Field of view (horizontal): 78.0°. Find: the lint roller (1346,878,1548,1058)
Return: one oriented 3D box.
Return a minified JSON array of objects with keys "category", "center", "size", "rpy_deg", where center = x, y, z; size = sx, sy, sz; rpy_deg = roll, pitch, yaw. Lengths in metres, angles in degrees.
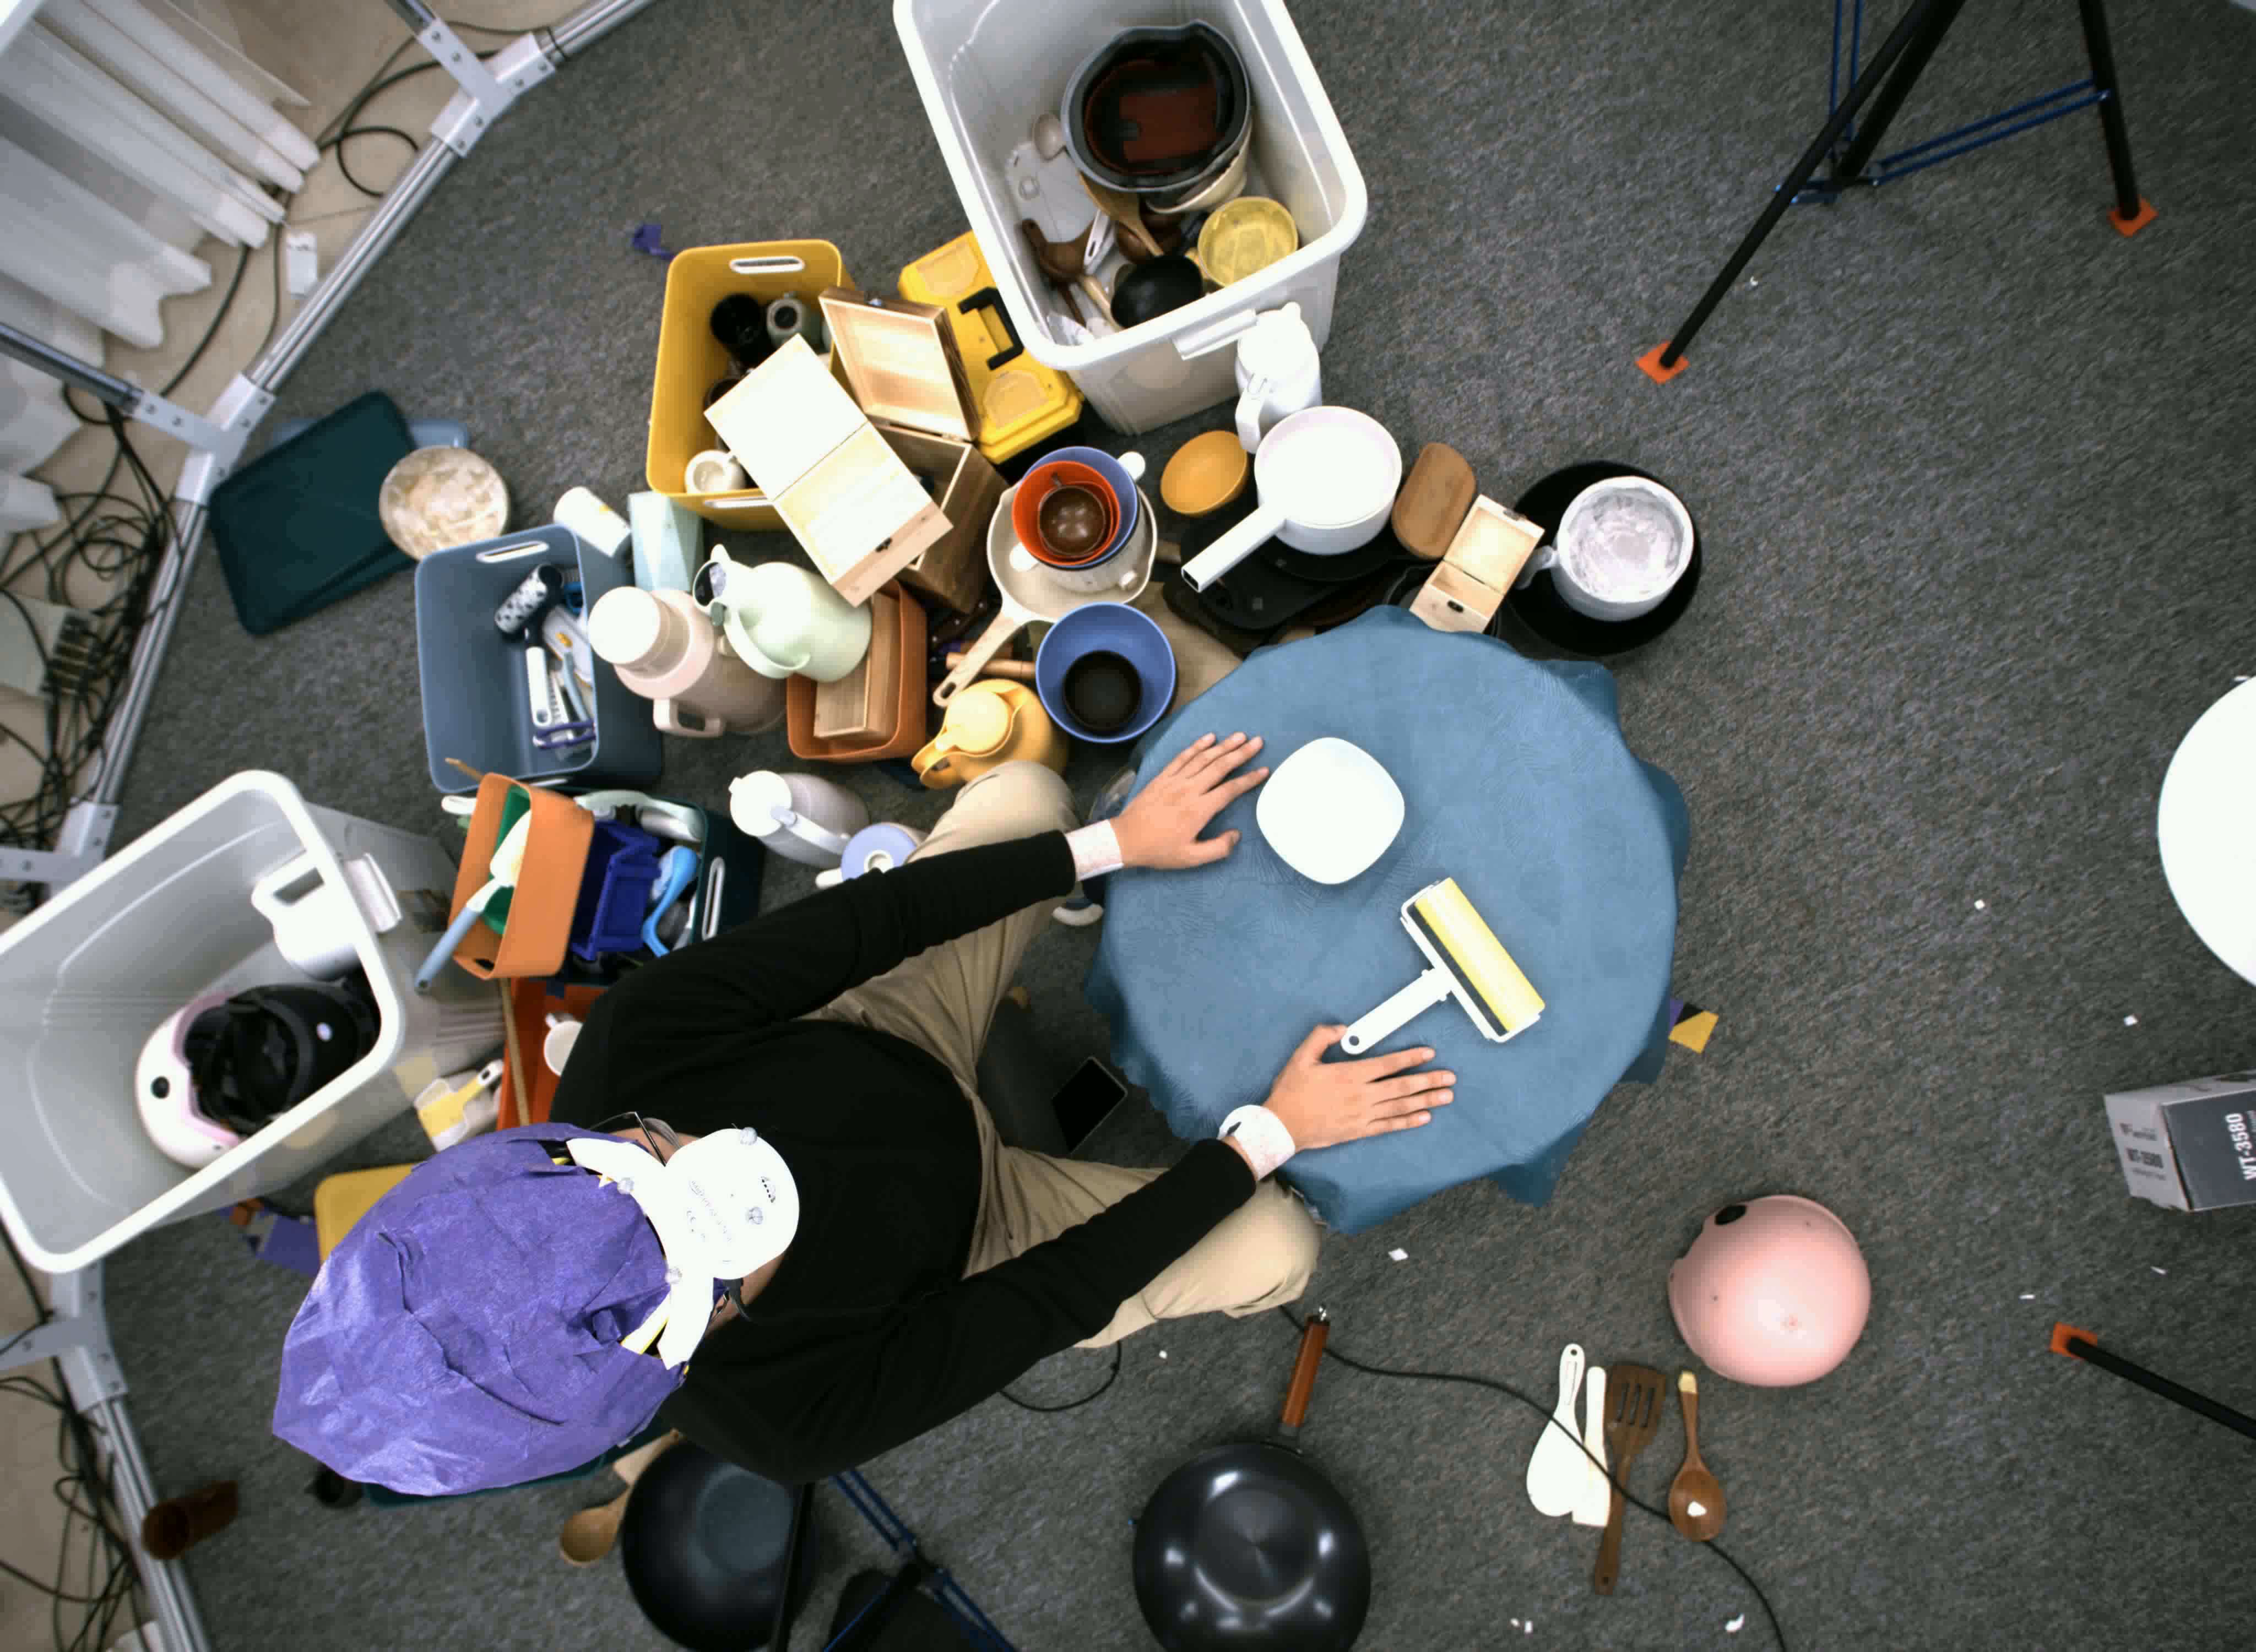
[{"category":"lint roller","center":[0.305,0.173,1.422],"size":[0.192,0.051,0.173],"rpy_deg":[-37,81,2]}]

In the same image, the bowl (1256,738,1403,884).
[{"category":"bowl","center":[0.211,-0.014,1.447],"size":[0.152,0.059,0.150],"rpy_deg":[-1,86,9]}]
